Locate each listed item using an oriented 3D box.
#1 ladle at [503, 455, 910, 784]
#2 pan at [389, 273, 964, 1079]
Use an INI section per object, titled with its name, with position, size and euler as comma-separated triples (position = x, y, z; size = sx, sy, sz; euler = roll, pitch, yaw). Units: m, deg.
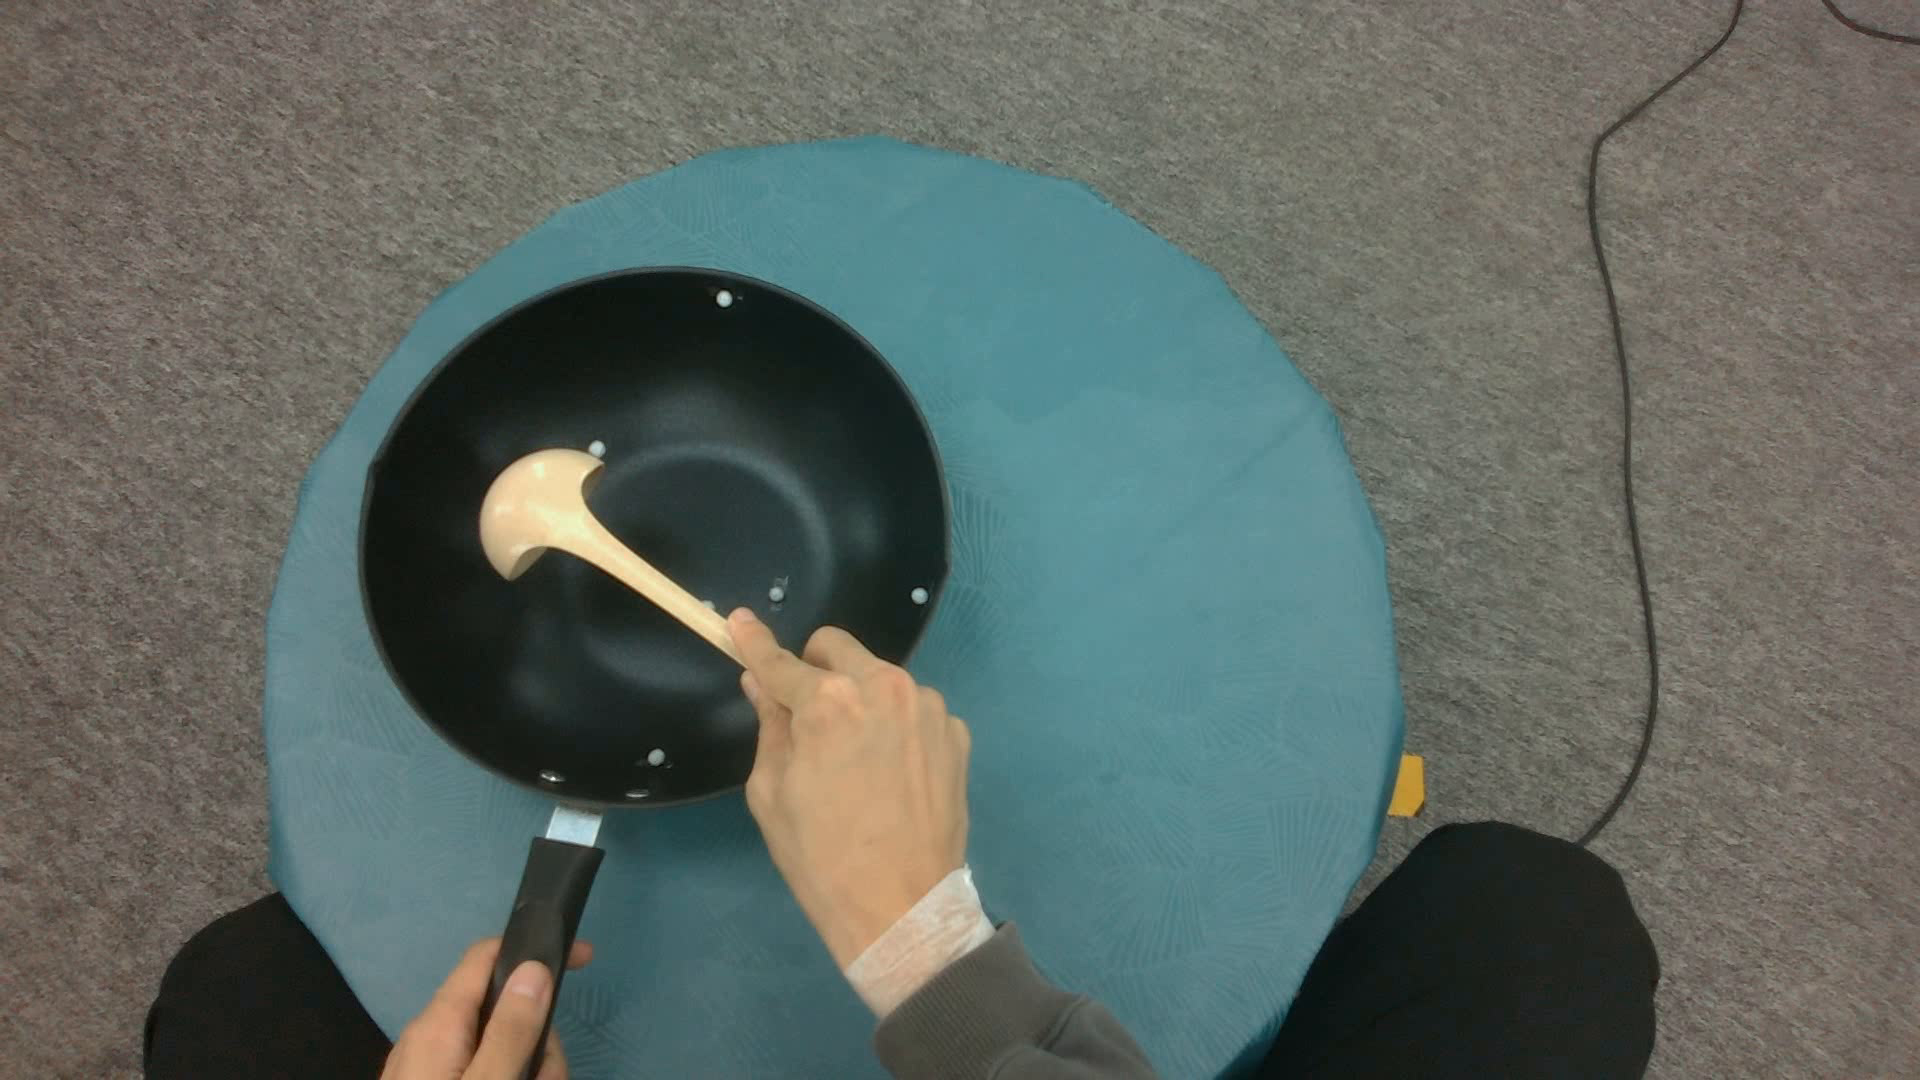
[ladle]
position = -0.117, 0.045, 0.658
size = 0.254, 0.072, 0.072
euler = 35, 77, 19
[pan]
position = -0.159, 0.088, 0.687
size = 0.288, 0.086, 0.465
euler = 11, 71, 3
